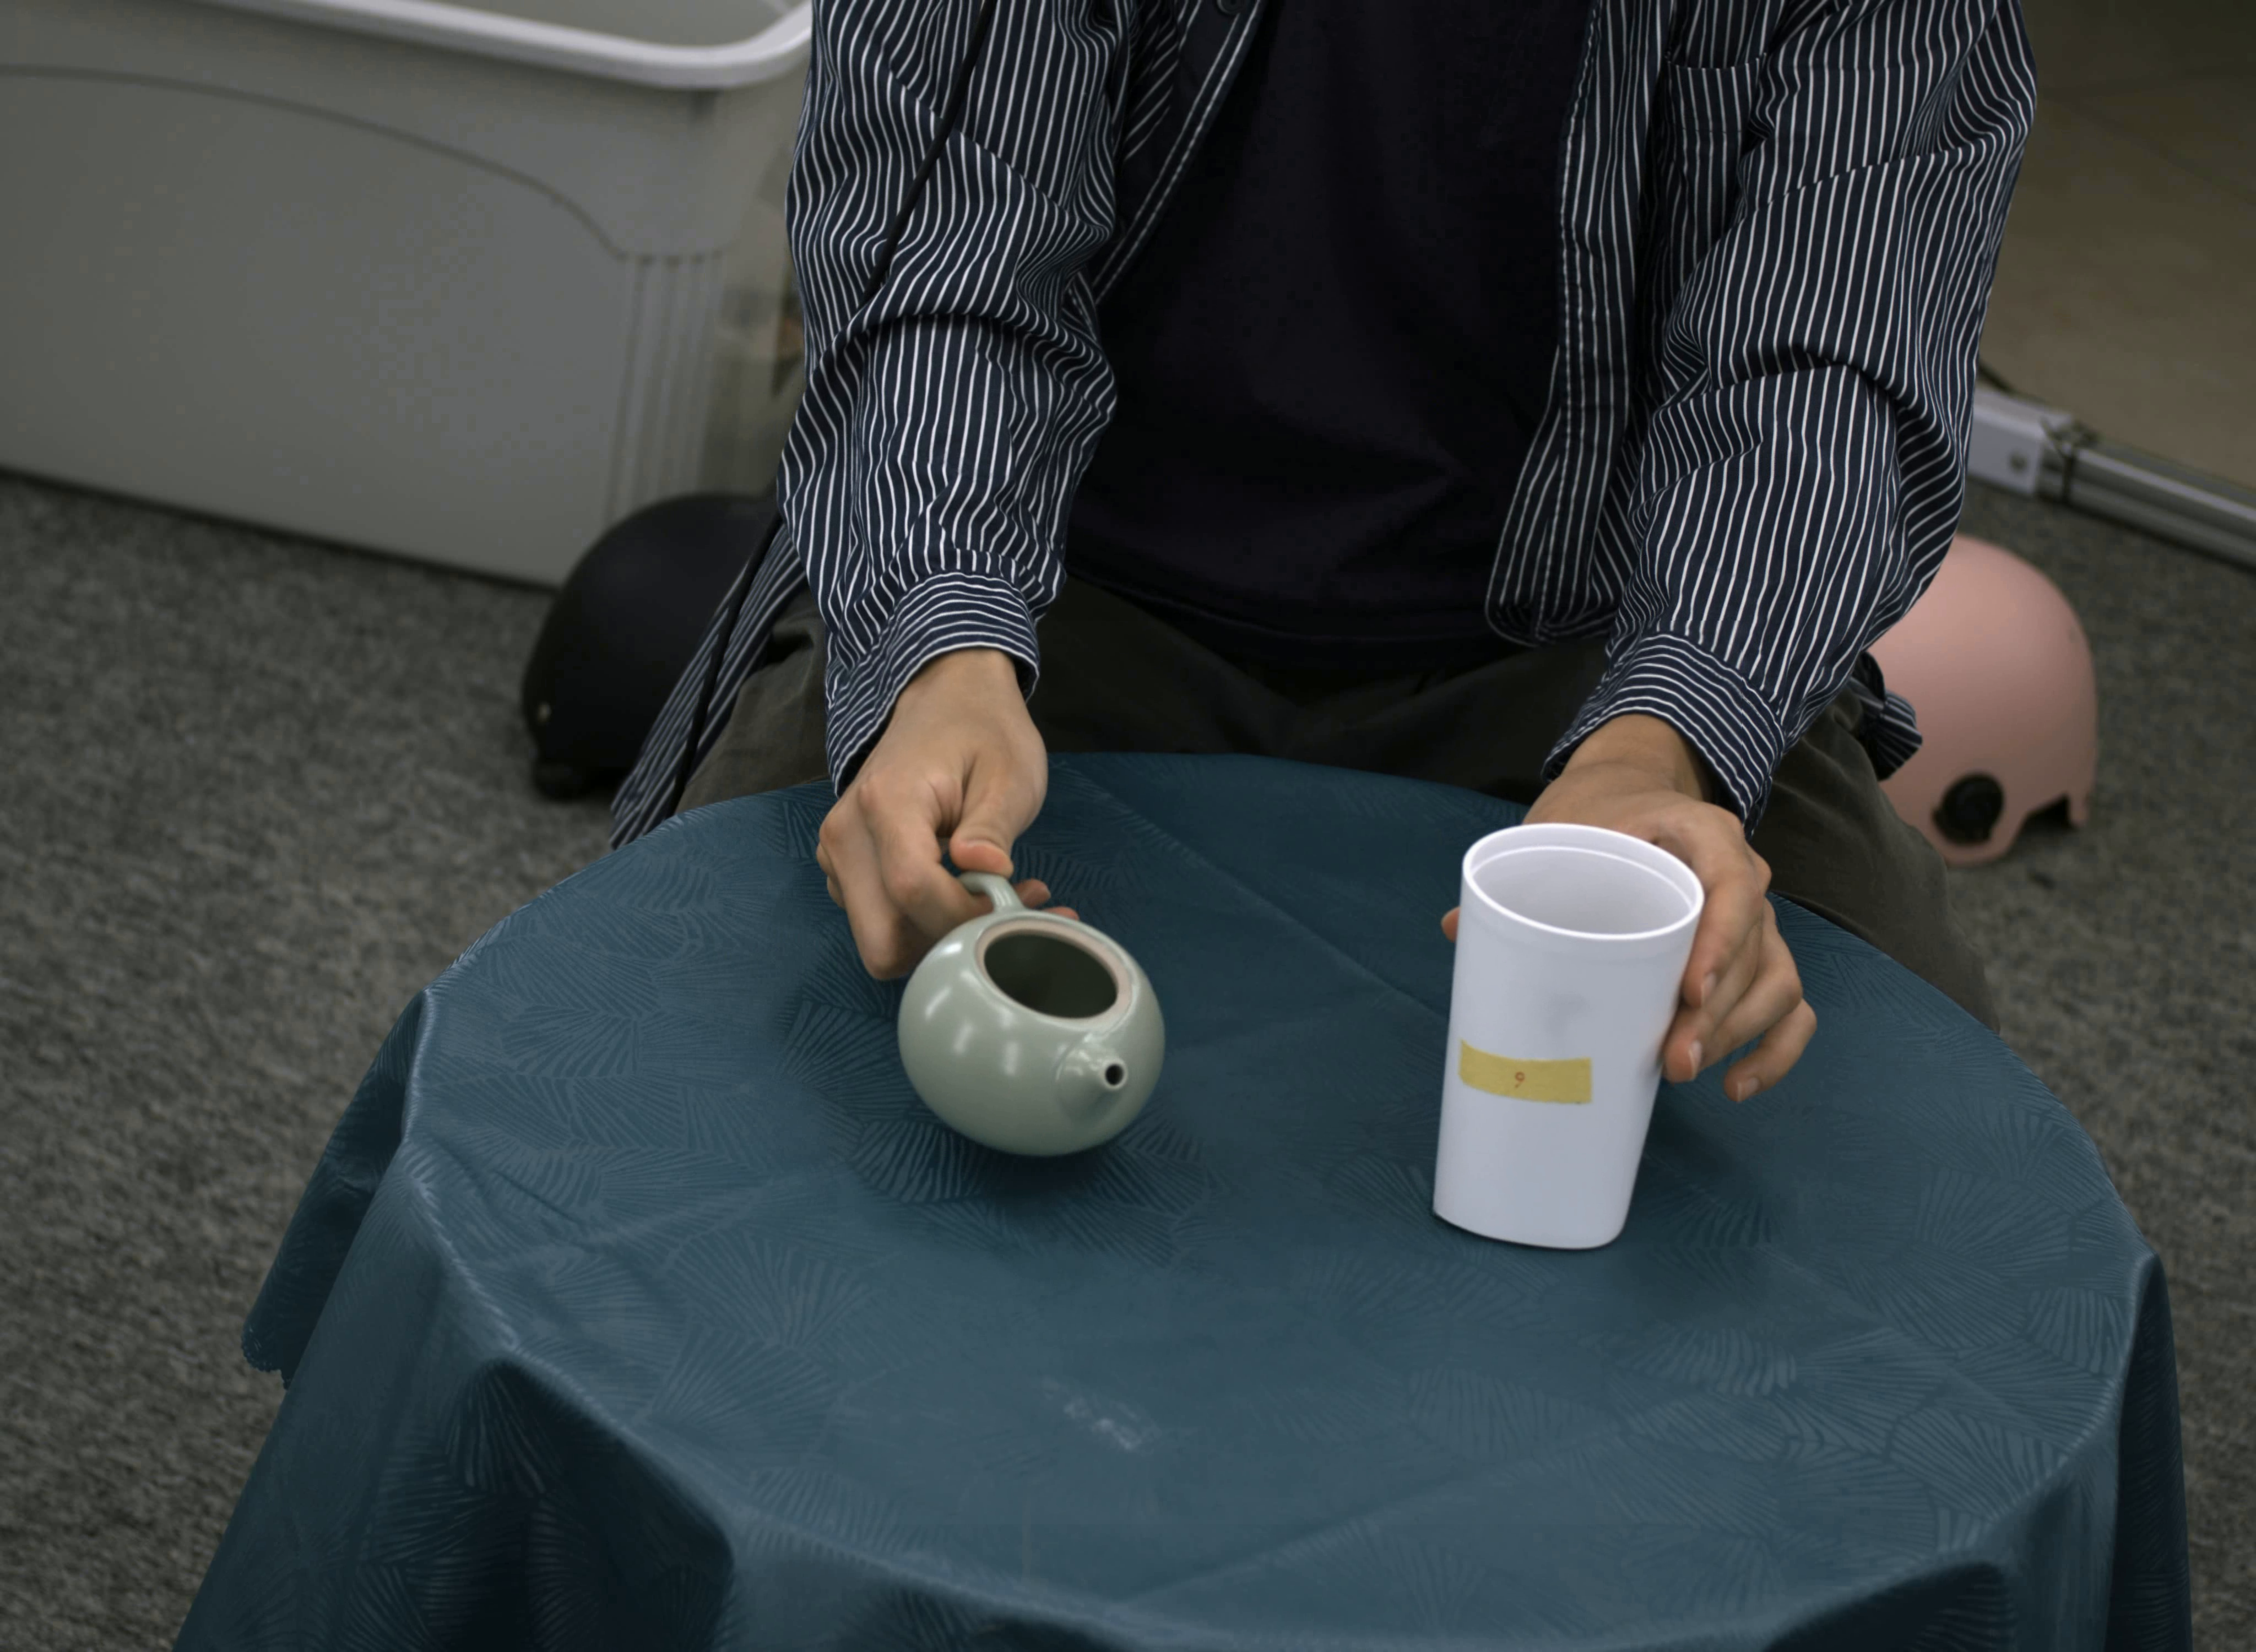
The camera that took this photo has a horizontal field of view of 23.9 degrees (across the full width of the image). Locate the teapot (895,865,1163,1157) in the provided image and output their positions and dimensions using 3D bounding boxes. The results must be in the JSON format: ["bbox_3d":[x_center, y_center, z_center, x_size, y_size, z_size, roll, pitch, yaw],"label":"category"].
[{"bbox_3d":[-0.037,0.064,1.805,0.091,0.061,0.130,-2,39,-23],"label":"teapot"}]

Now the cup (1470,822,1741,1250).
[{"bbox_3d":[0.156,0.073,1.788,0.081,0.125,0.082,5,26,-3],"label":"cup"}]
